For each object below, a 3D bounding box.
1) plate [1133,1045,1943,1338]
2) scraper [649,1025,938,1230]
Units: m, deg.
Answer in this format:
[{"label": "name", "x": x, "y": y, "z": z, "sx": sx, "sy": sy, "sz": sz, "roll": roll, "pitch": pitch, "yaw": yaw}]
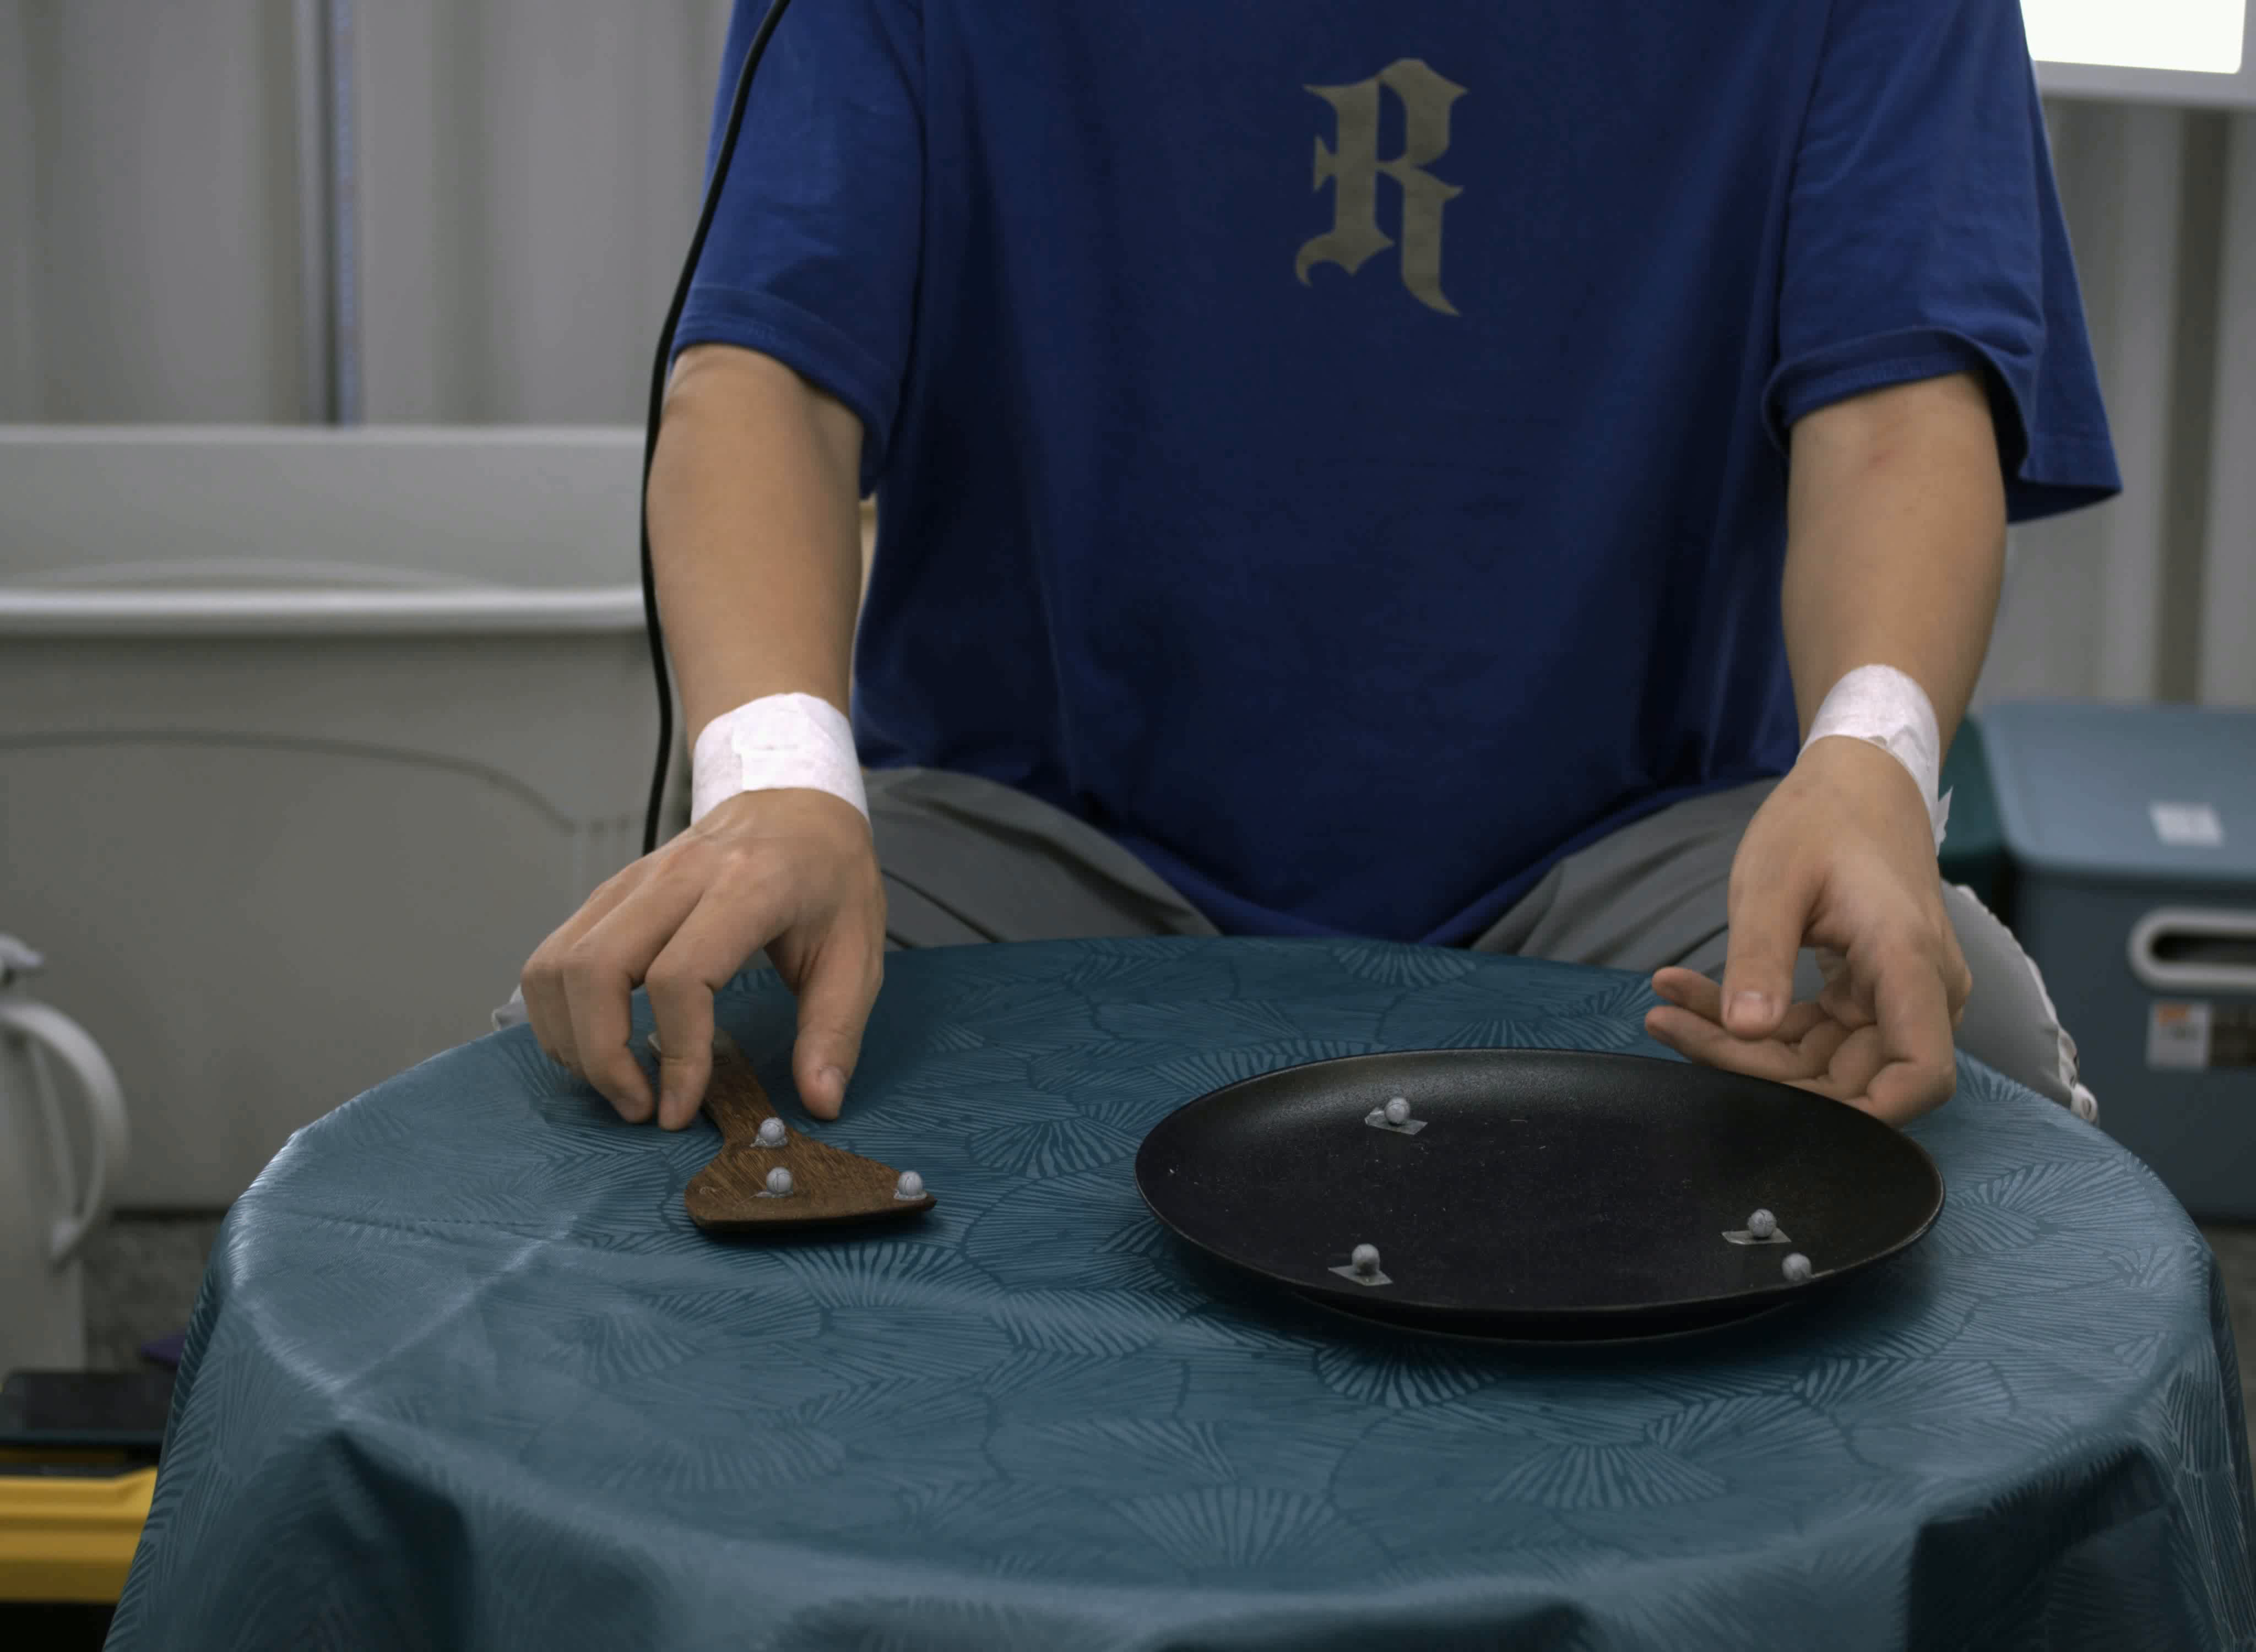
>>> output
[{"label": "plate", "x": 0.122, "y": 0.112, "z": 1.584, "sx": 0.243, "sy": 0.023, "sz": 0.243, "roll": 1, "pitch": 16, "yaw": 0}, {"label": "scraper", "x": -0.119, "y": 0.094, "z": 1.666, "sx": 0.076, "sy": 0.011, "sz": 0.209, "roll": -3, "pitch": 15, "yaw": -16}]
